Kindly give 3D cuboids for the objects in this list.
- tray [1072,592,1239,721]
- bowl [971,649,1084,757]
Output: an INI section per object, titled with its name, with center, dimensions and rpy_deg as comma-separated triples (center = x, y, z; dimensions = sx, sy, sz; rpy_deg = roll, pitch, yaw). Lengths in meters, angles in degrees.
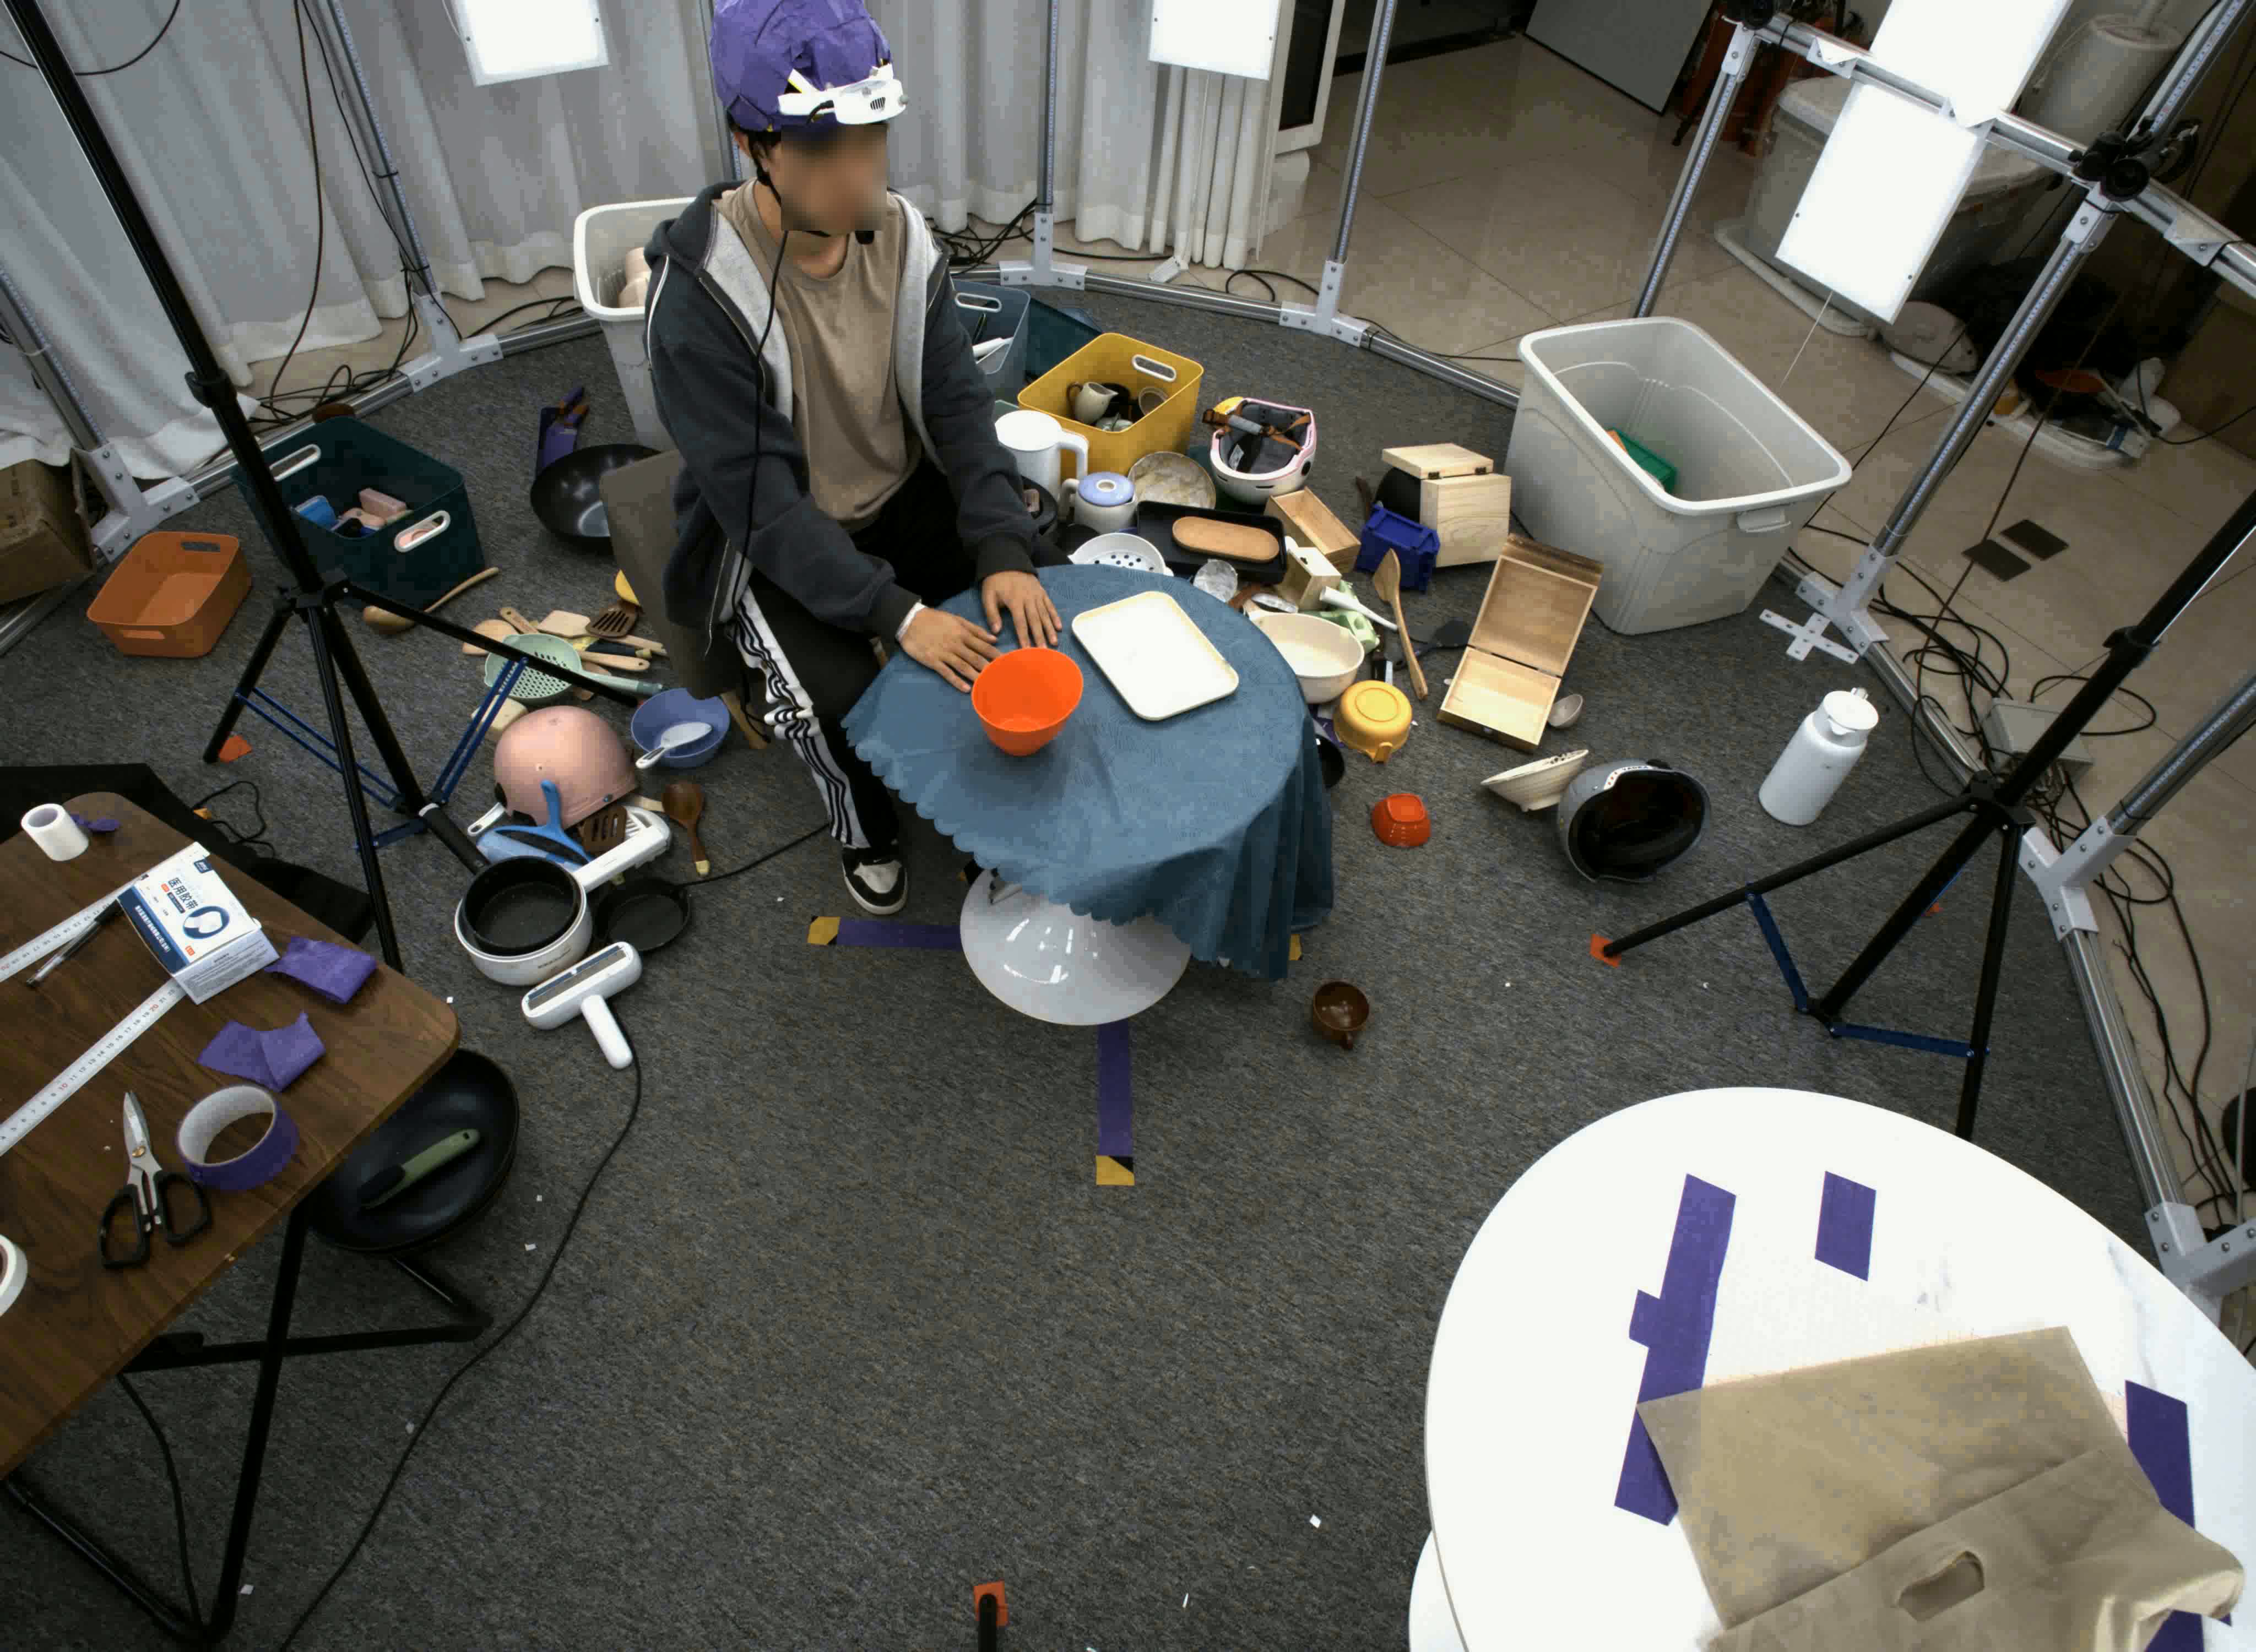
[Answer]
[tray]
center = 0.038, -0.250, 1.875
dimensions = 0.172, 0.017, 0.245
rpy_deg = -21, 54, -20
[bowl]
center = -0.135, -0.154, 1.726
dimensions = 0.148, 0.102, 0.152
rpy_deg = 2, 49, -3
